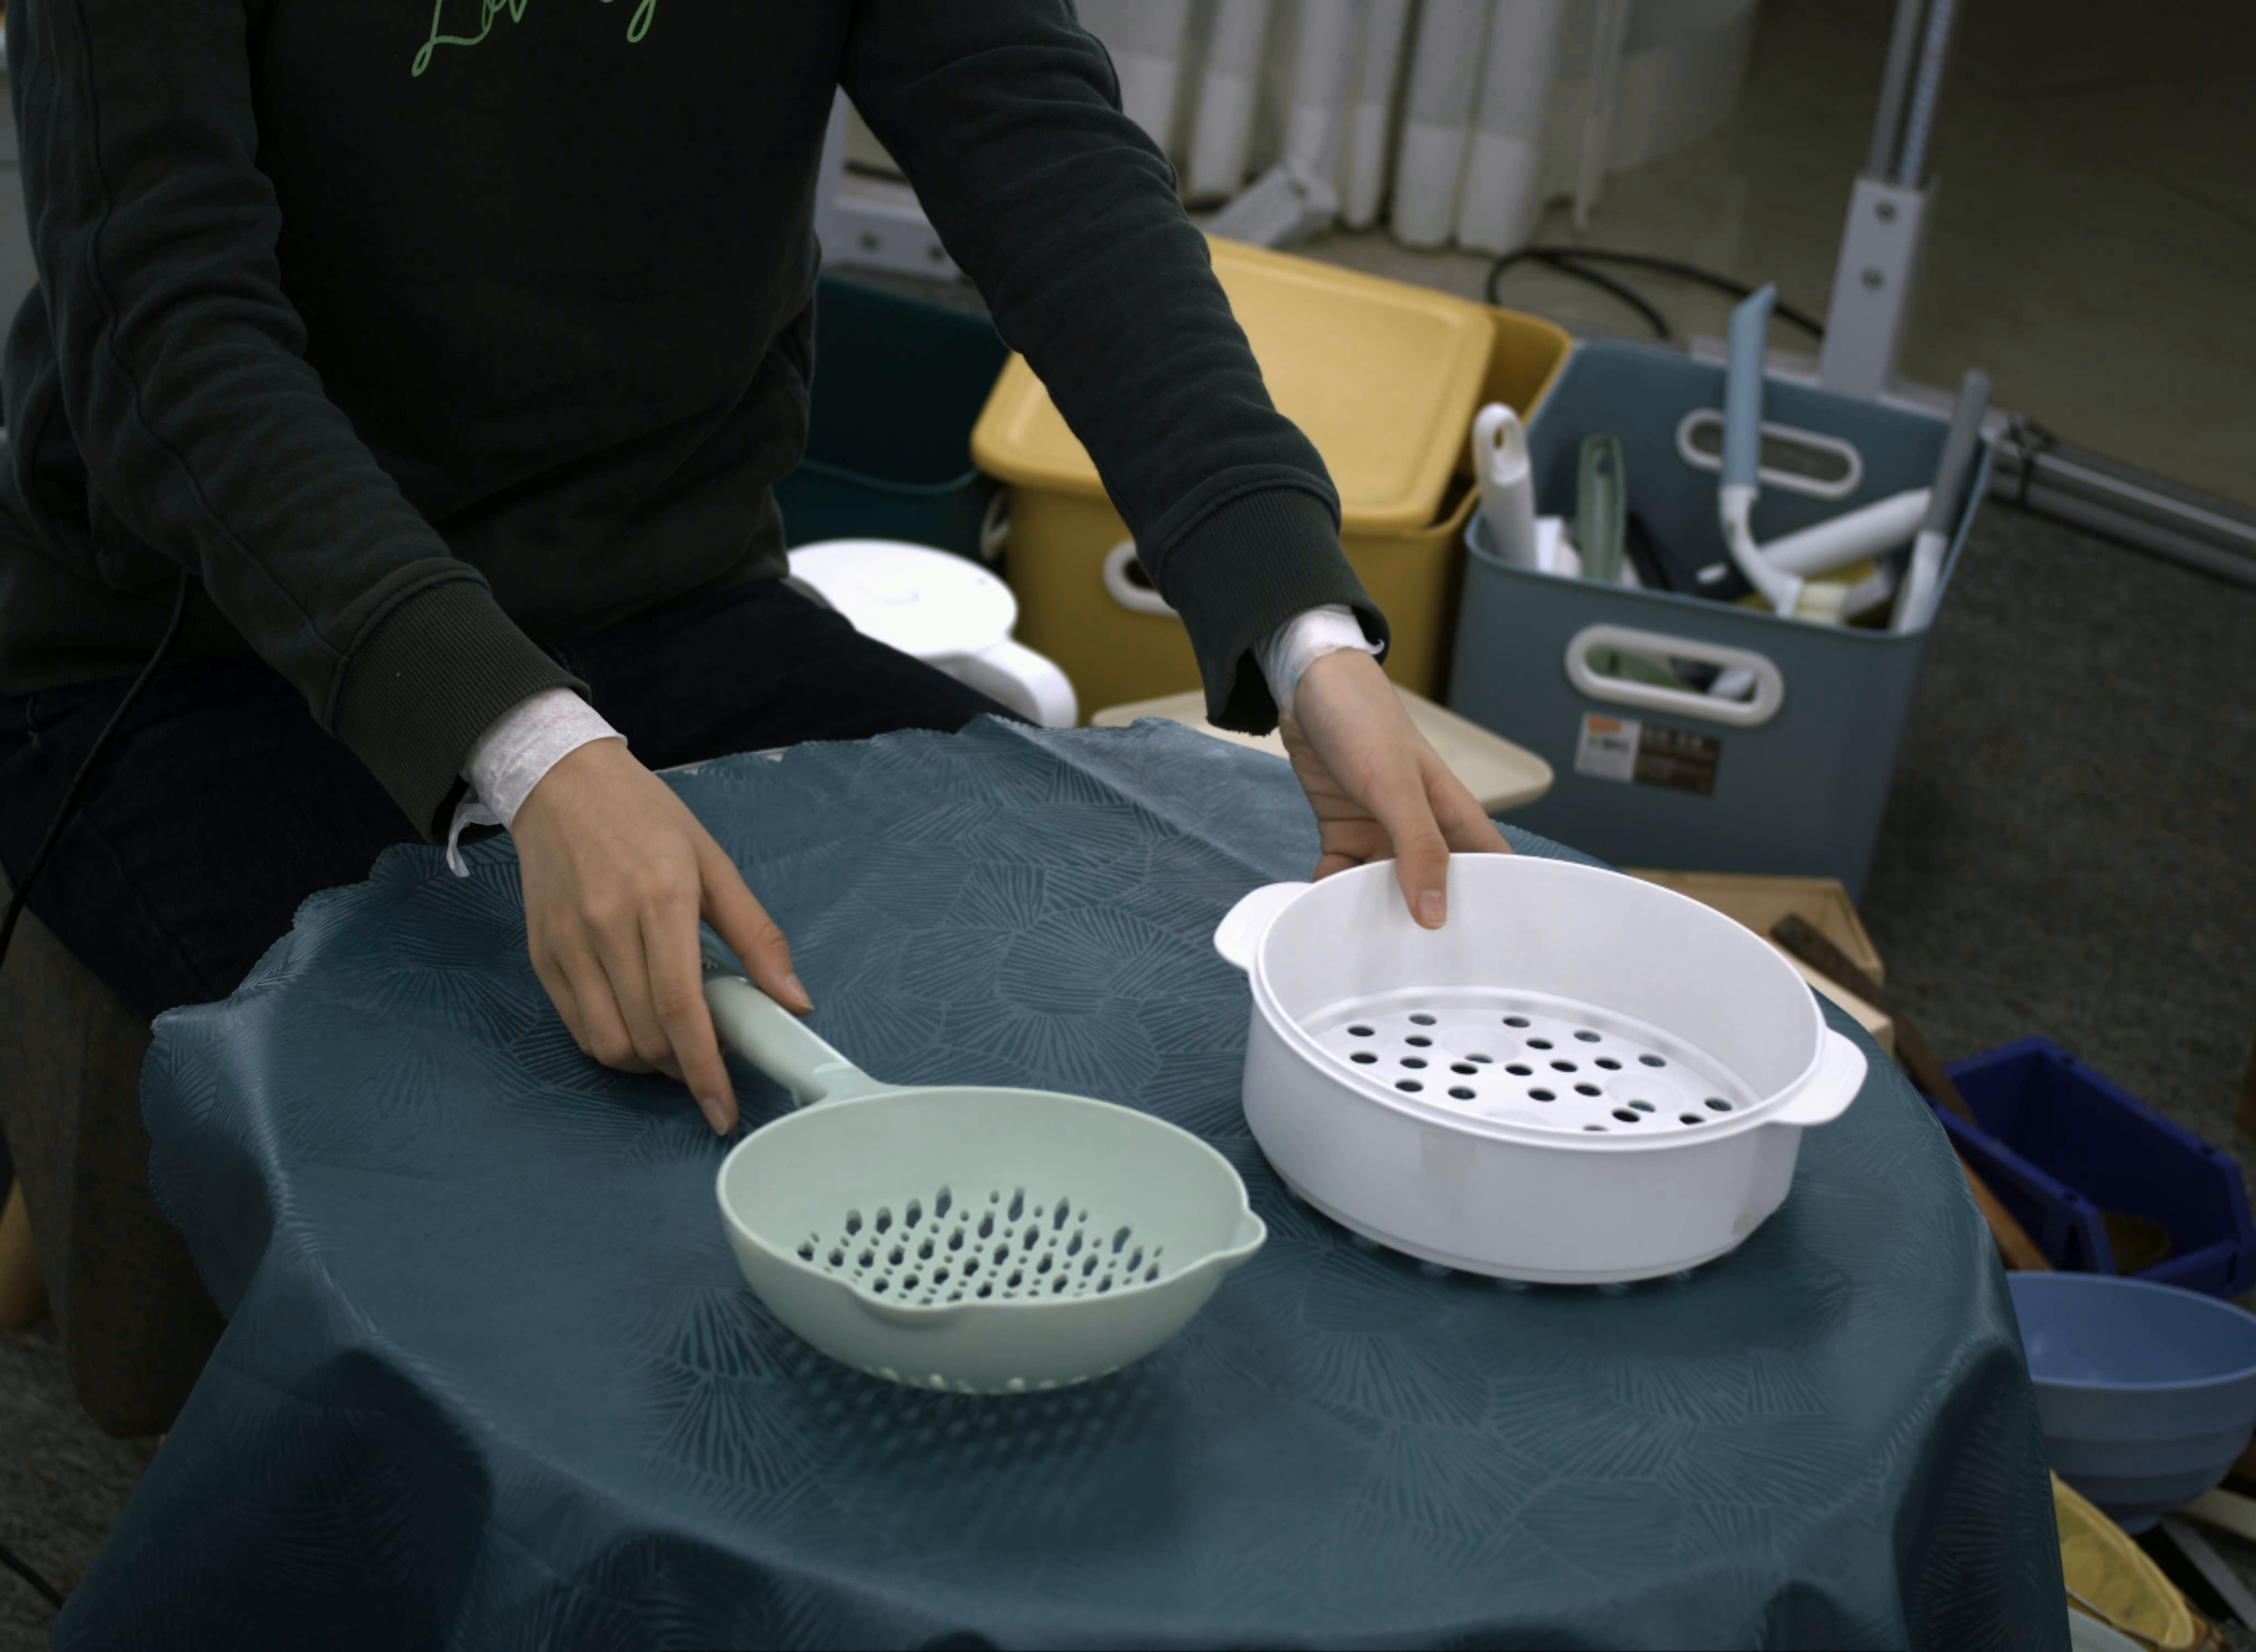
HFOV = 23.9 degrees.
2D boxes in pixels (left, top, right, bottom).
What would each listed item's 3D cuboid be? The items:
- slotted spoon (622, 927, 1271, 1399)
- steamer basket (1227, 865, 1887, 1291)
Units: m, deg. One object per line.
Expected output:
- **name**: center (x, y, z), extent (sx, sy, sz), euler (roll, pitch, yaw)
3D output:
- **slotted spoon**: center (-0.092, 0.095, 1.763), extent (0.168, 0.075, 0.362), euler (-7, 30, -27)
- **steamer basket**: center (0.143, 0.087, 1.833), extent (0.231, 0.069, 0.202), euler (15, 27, 17)
